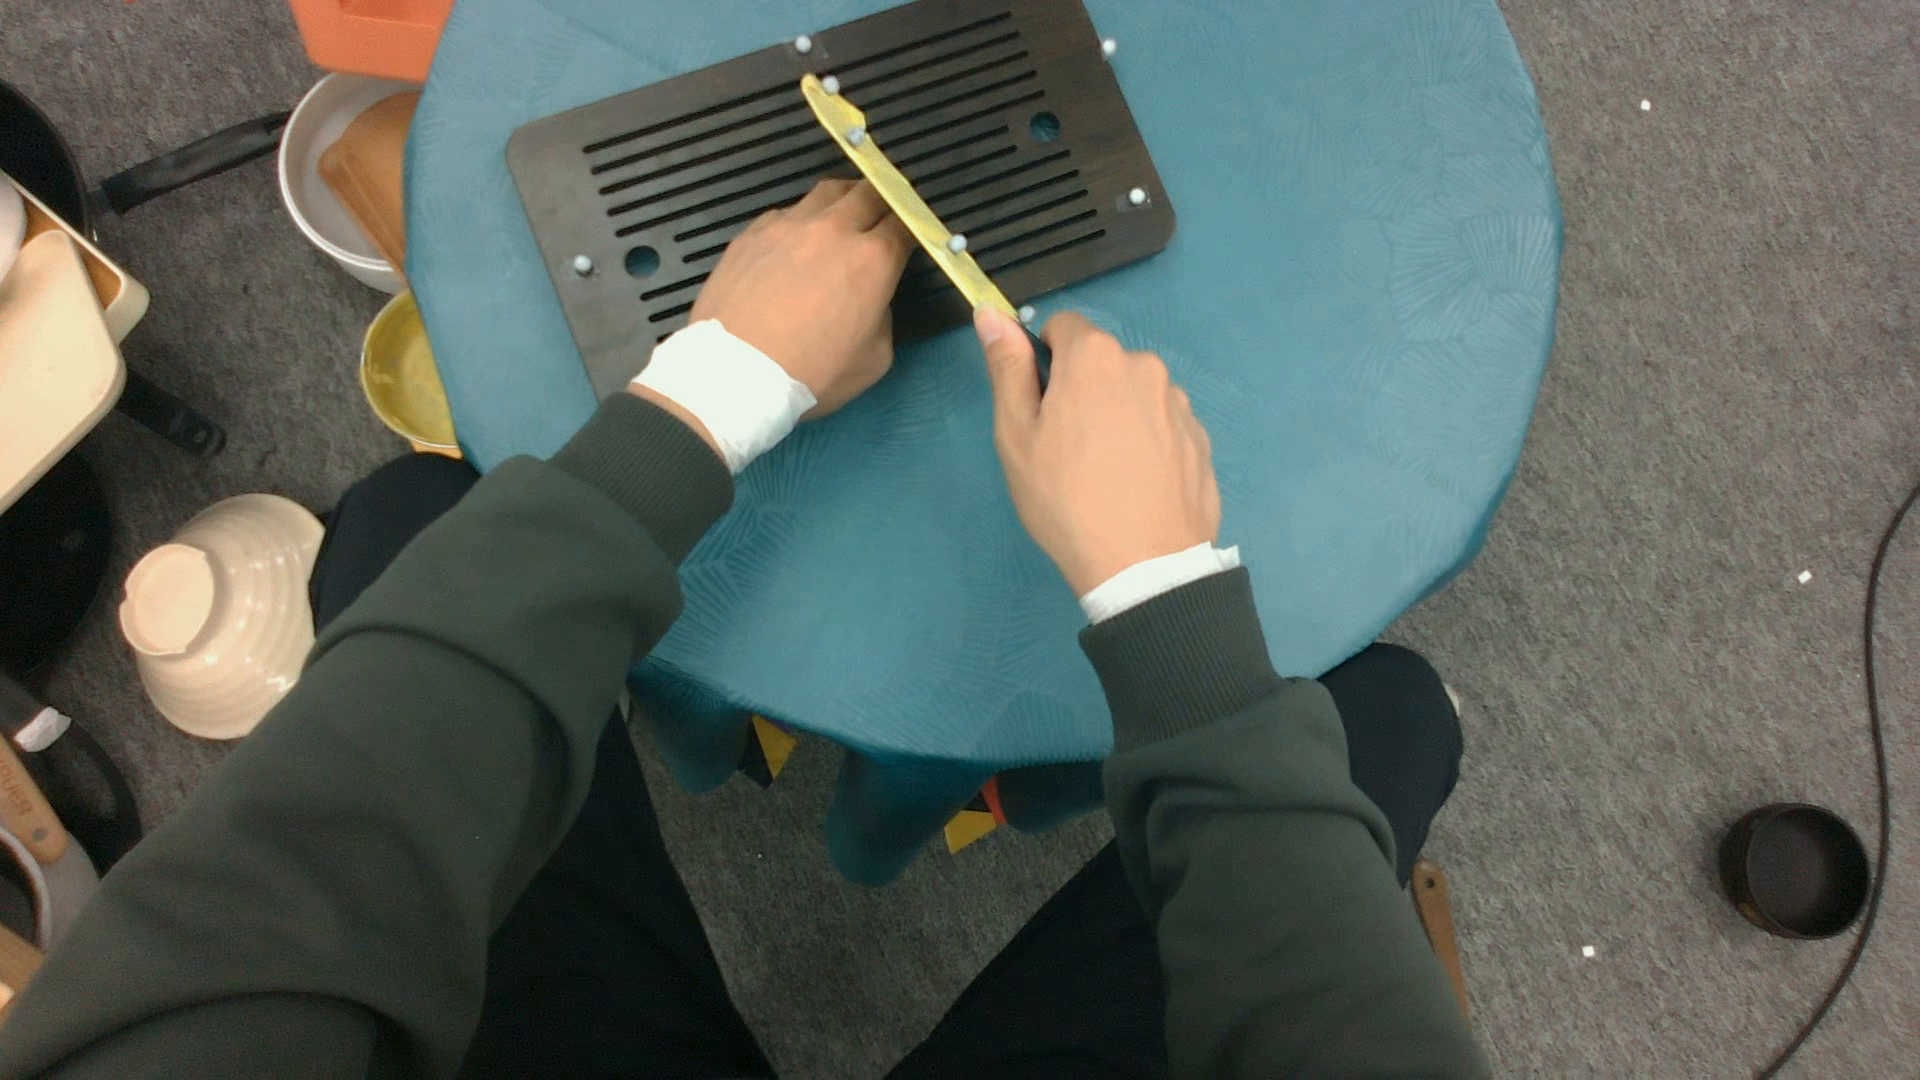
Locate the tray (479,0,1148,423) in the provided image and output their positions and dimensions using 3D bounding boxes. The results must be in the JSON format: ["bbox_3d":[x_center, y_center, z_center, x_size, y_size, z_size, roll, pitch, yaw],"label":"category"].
[{"bbox_3d":[-0.070,-0.184,0.698,0.306,0.018,0.170,-21,82,-10],"label":"tray"}]

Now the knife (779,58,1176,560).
[{"bbox_3d":[0.004,-0.109,0.619,0.027,0.081,0.289,-40,80,19],"label":"knife"}]
